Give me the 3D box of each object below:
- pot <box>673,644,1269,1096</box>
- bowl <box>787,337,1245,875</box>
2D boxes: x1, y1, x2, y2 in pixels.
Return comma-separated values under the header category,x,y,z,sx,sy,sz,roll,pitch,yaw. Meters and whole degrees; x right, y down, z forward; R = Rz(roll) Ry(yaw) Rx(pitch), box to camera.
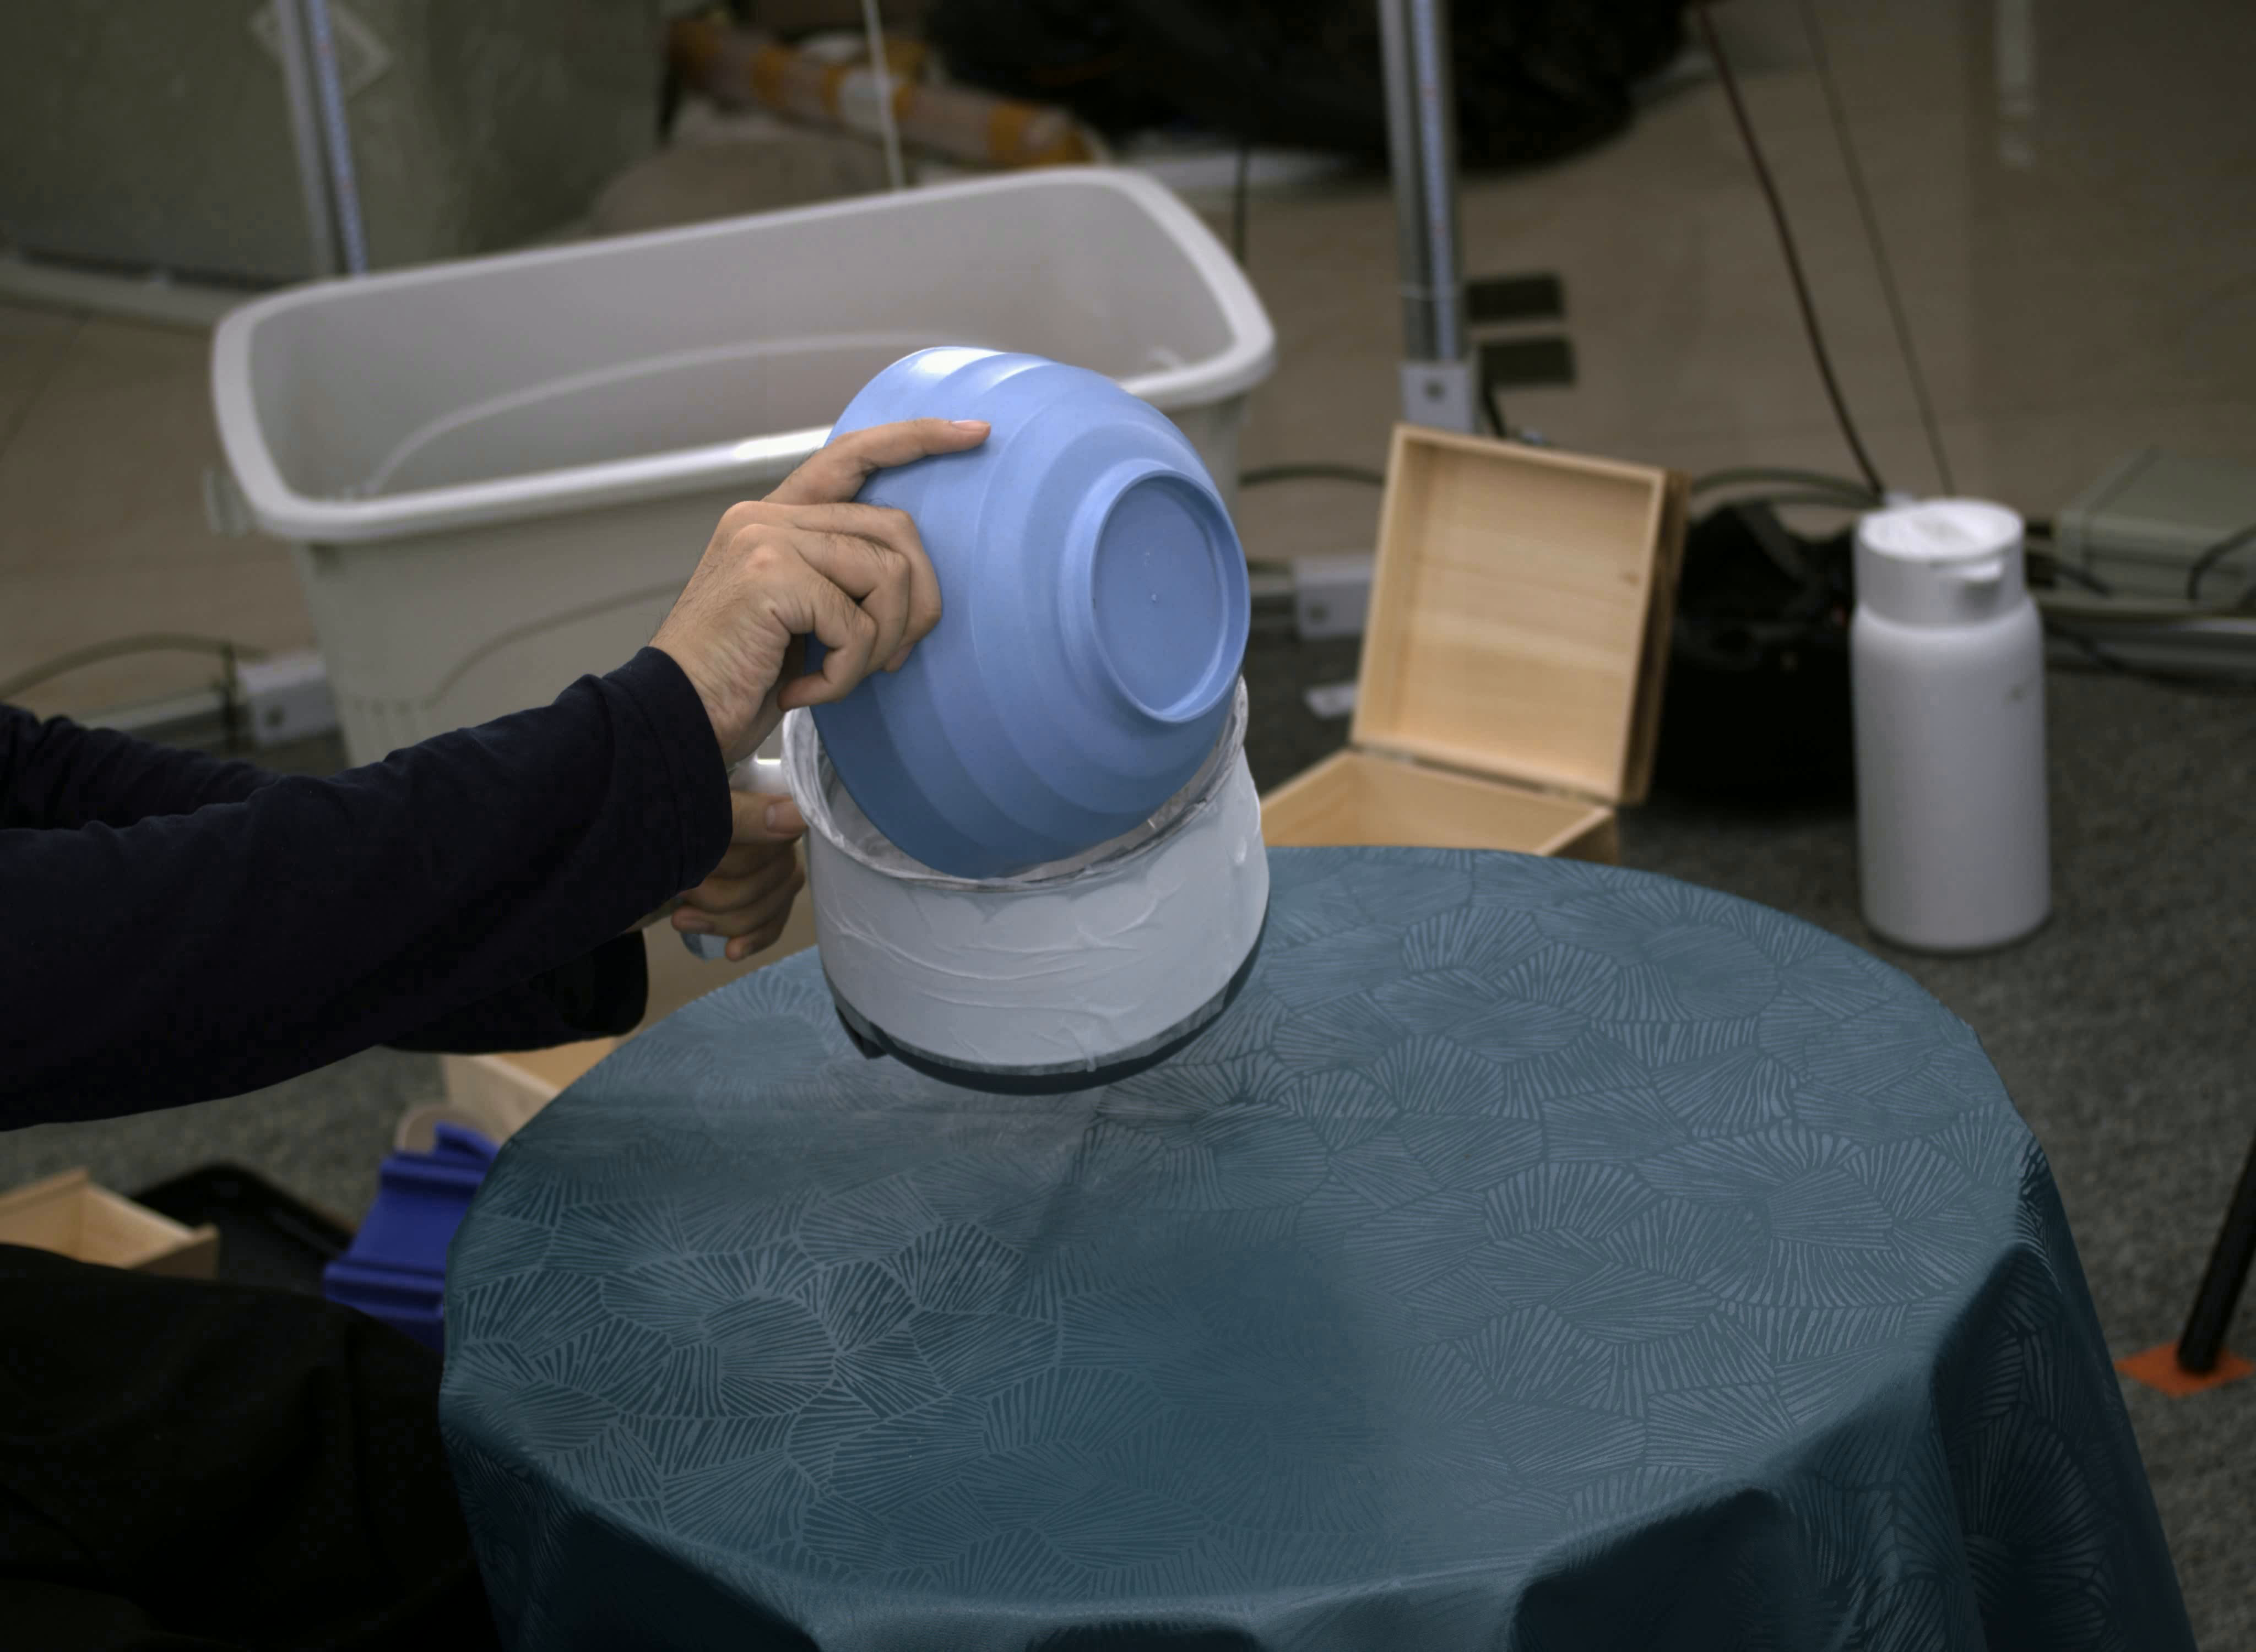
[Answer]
category,x,y,z,sx,sy,sz,roll,pitch,yaw
pot,-0.063,0.006,2.172,0.233,0.139,0.175,-2,43,5
bowl,-0.023,-0.080,2.040,0.095,0.199,0.194,3,25,41
